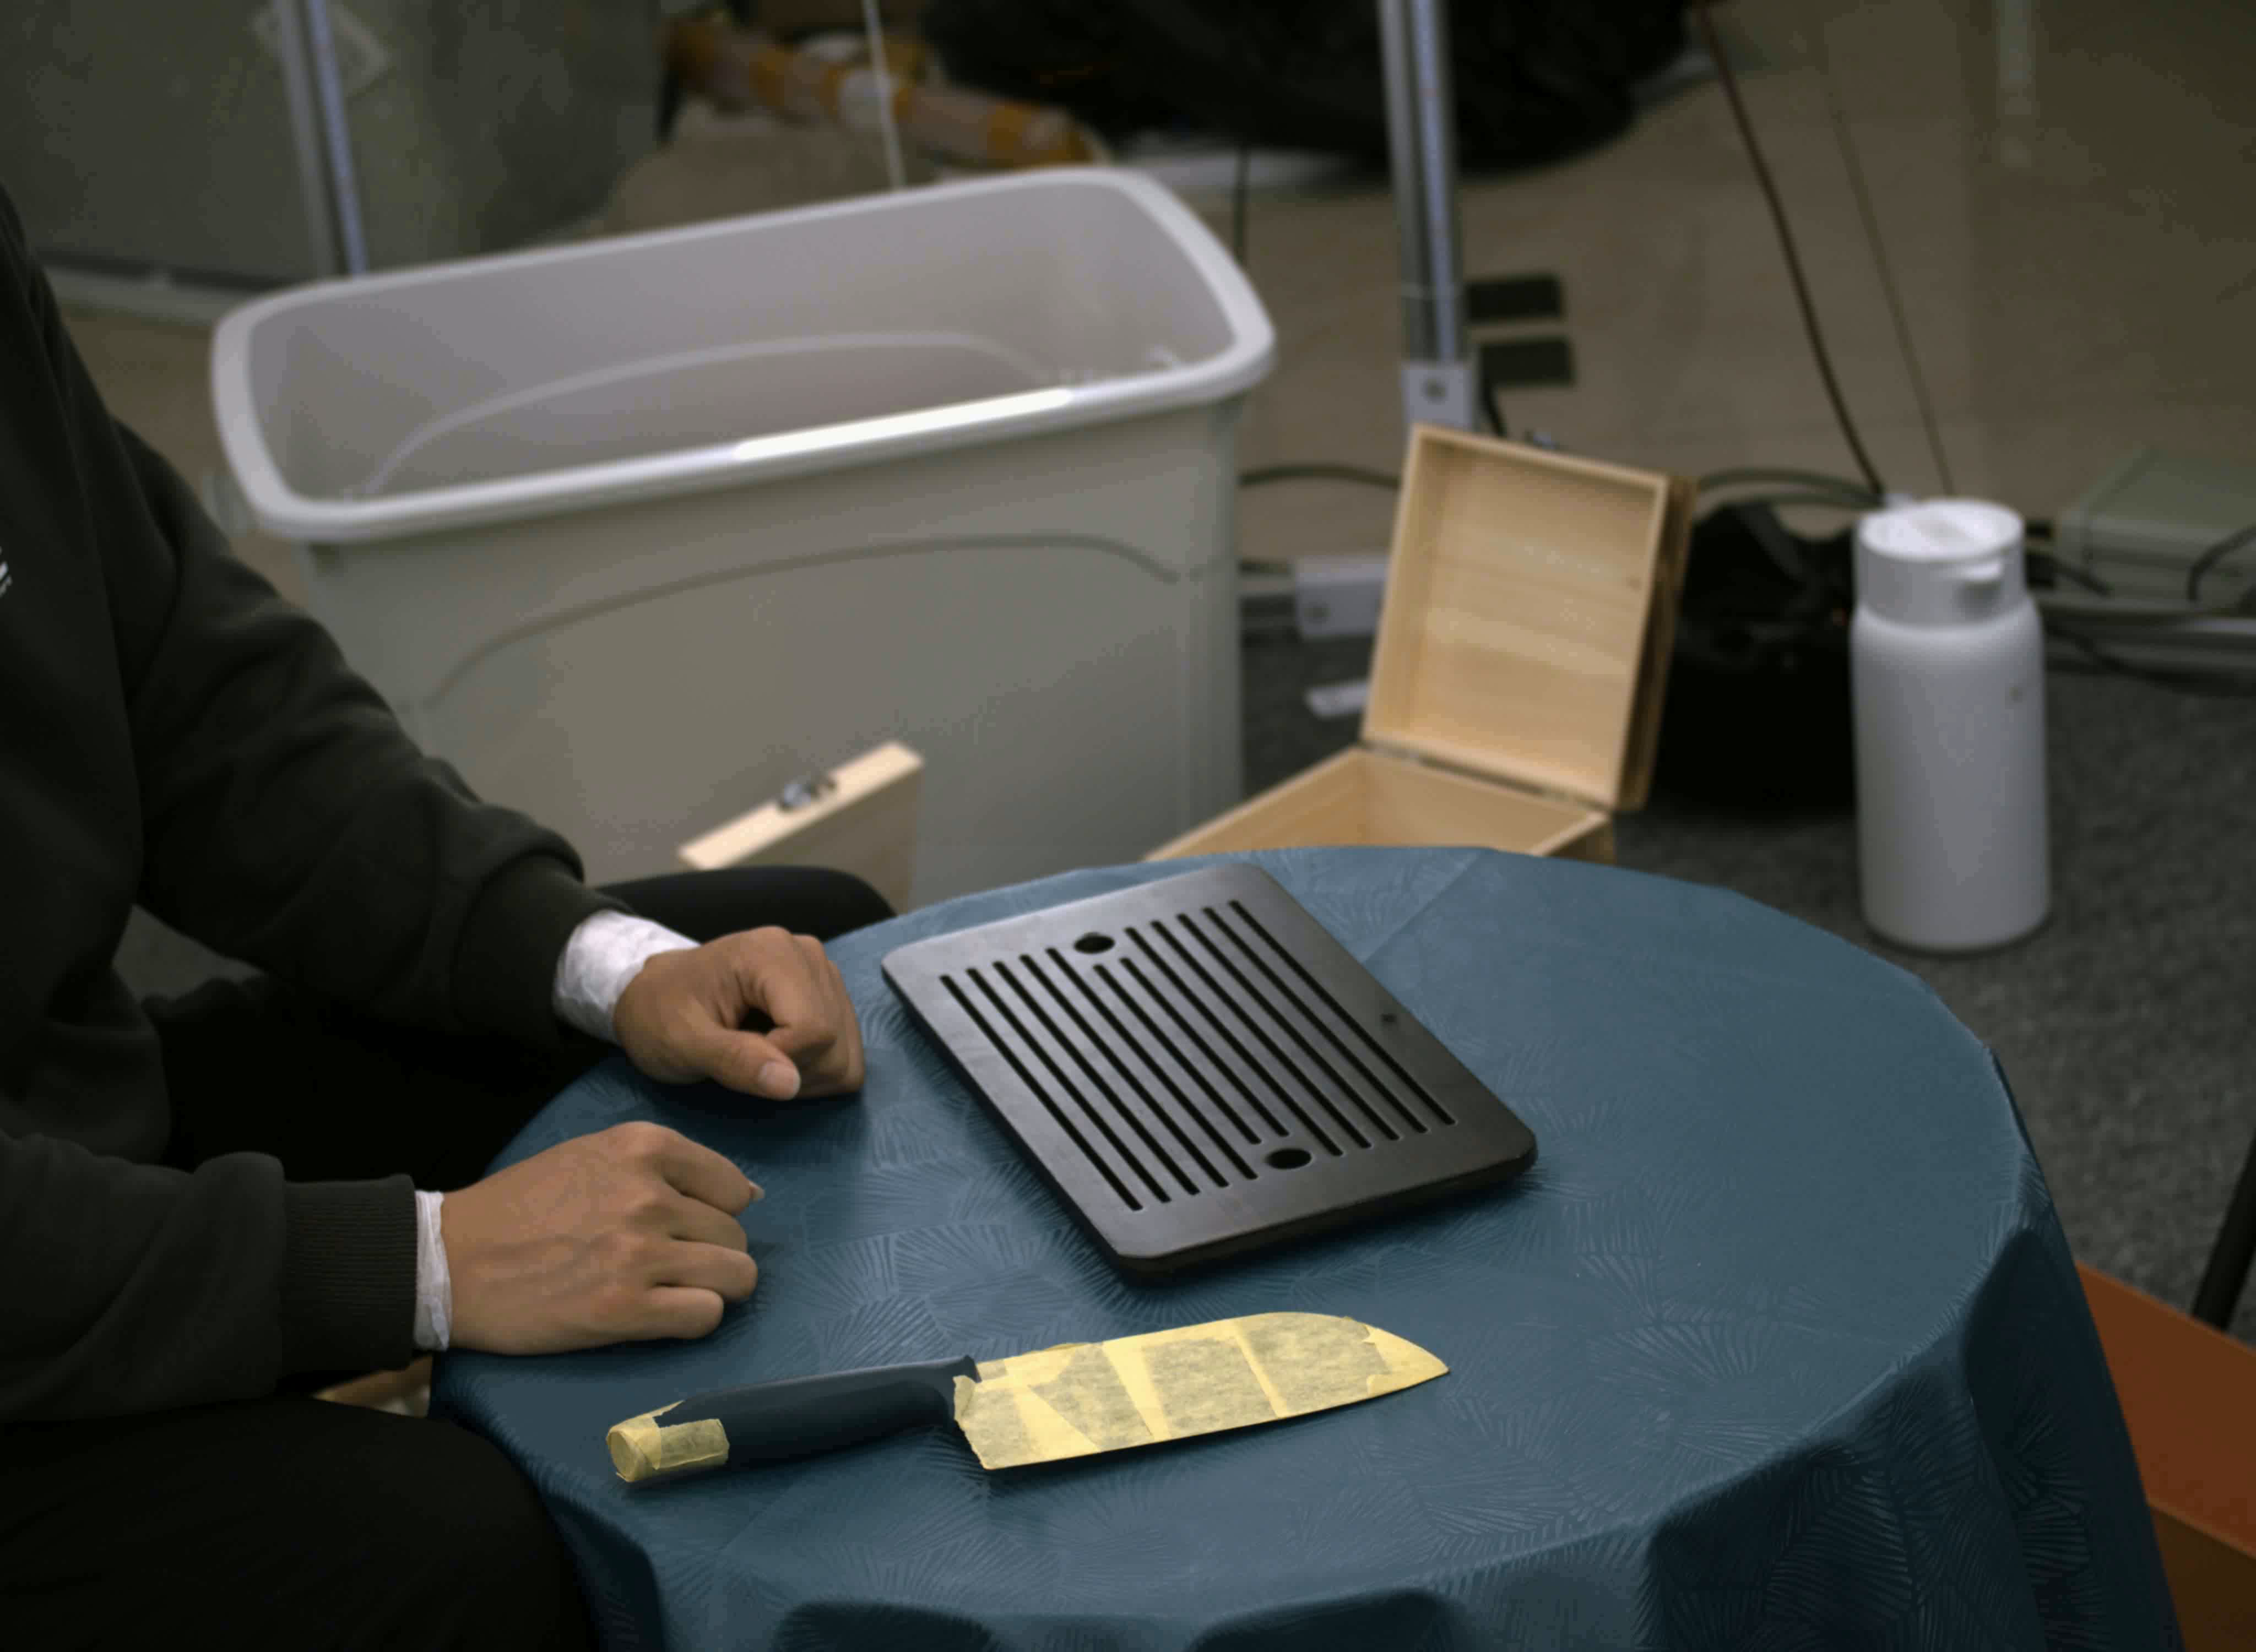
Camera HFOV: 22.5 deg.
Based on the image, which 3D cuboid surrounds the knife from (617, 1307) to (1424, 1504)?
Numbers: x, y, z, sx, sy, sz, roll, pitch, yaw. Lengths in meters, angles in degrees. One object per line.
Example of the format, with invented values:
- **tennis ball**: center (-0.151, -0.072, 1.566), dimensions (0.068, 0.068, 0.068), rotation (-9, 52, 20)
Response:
- **knife**: center (-0.036, 0.206, 1.999), dimensions (0.289, 0.027, 0.080), rotation (-10, 24, -9)

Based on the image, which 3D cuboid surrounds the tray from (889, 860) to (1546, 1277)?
- **tray**: center (0.030, 0.092, 2.223), dimensions (0.169, 0.019, 0.302), rotation (-15, 26, -15)
